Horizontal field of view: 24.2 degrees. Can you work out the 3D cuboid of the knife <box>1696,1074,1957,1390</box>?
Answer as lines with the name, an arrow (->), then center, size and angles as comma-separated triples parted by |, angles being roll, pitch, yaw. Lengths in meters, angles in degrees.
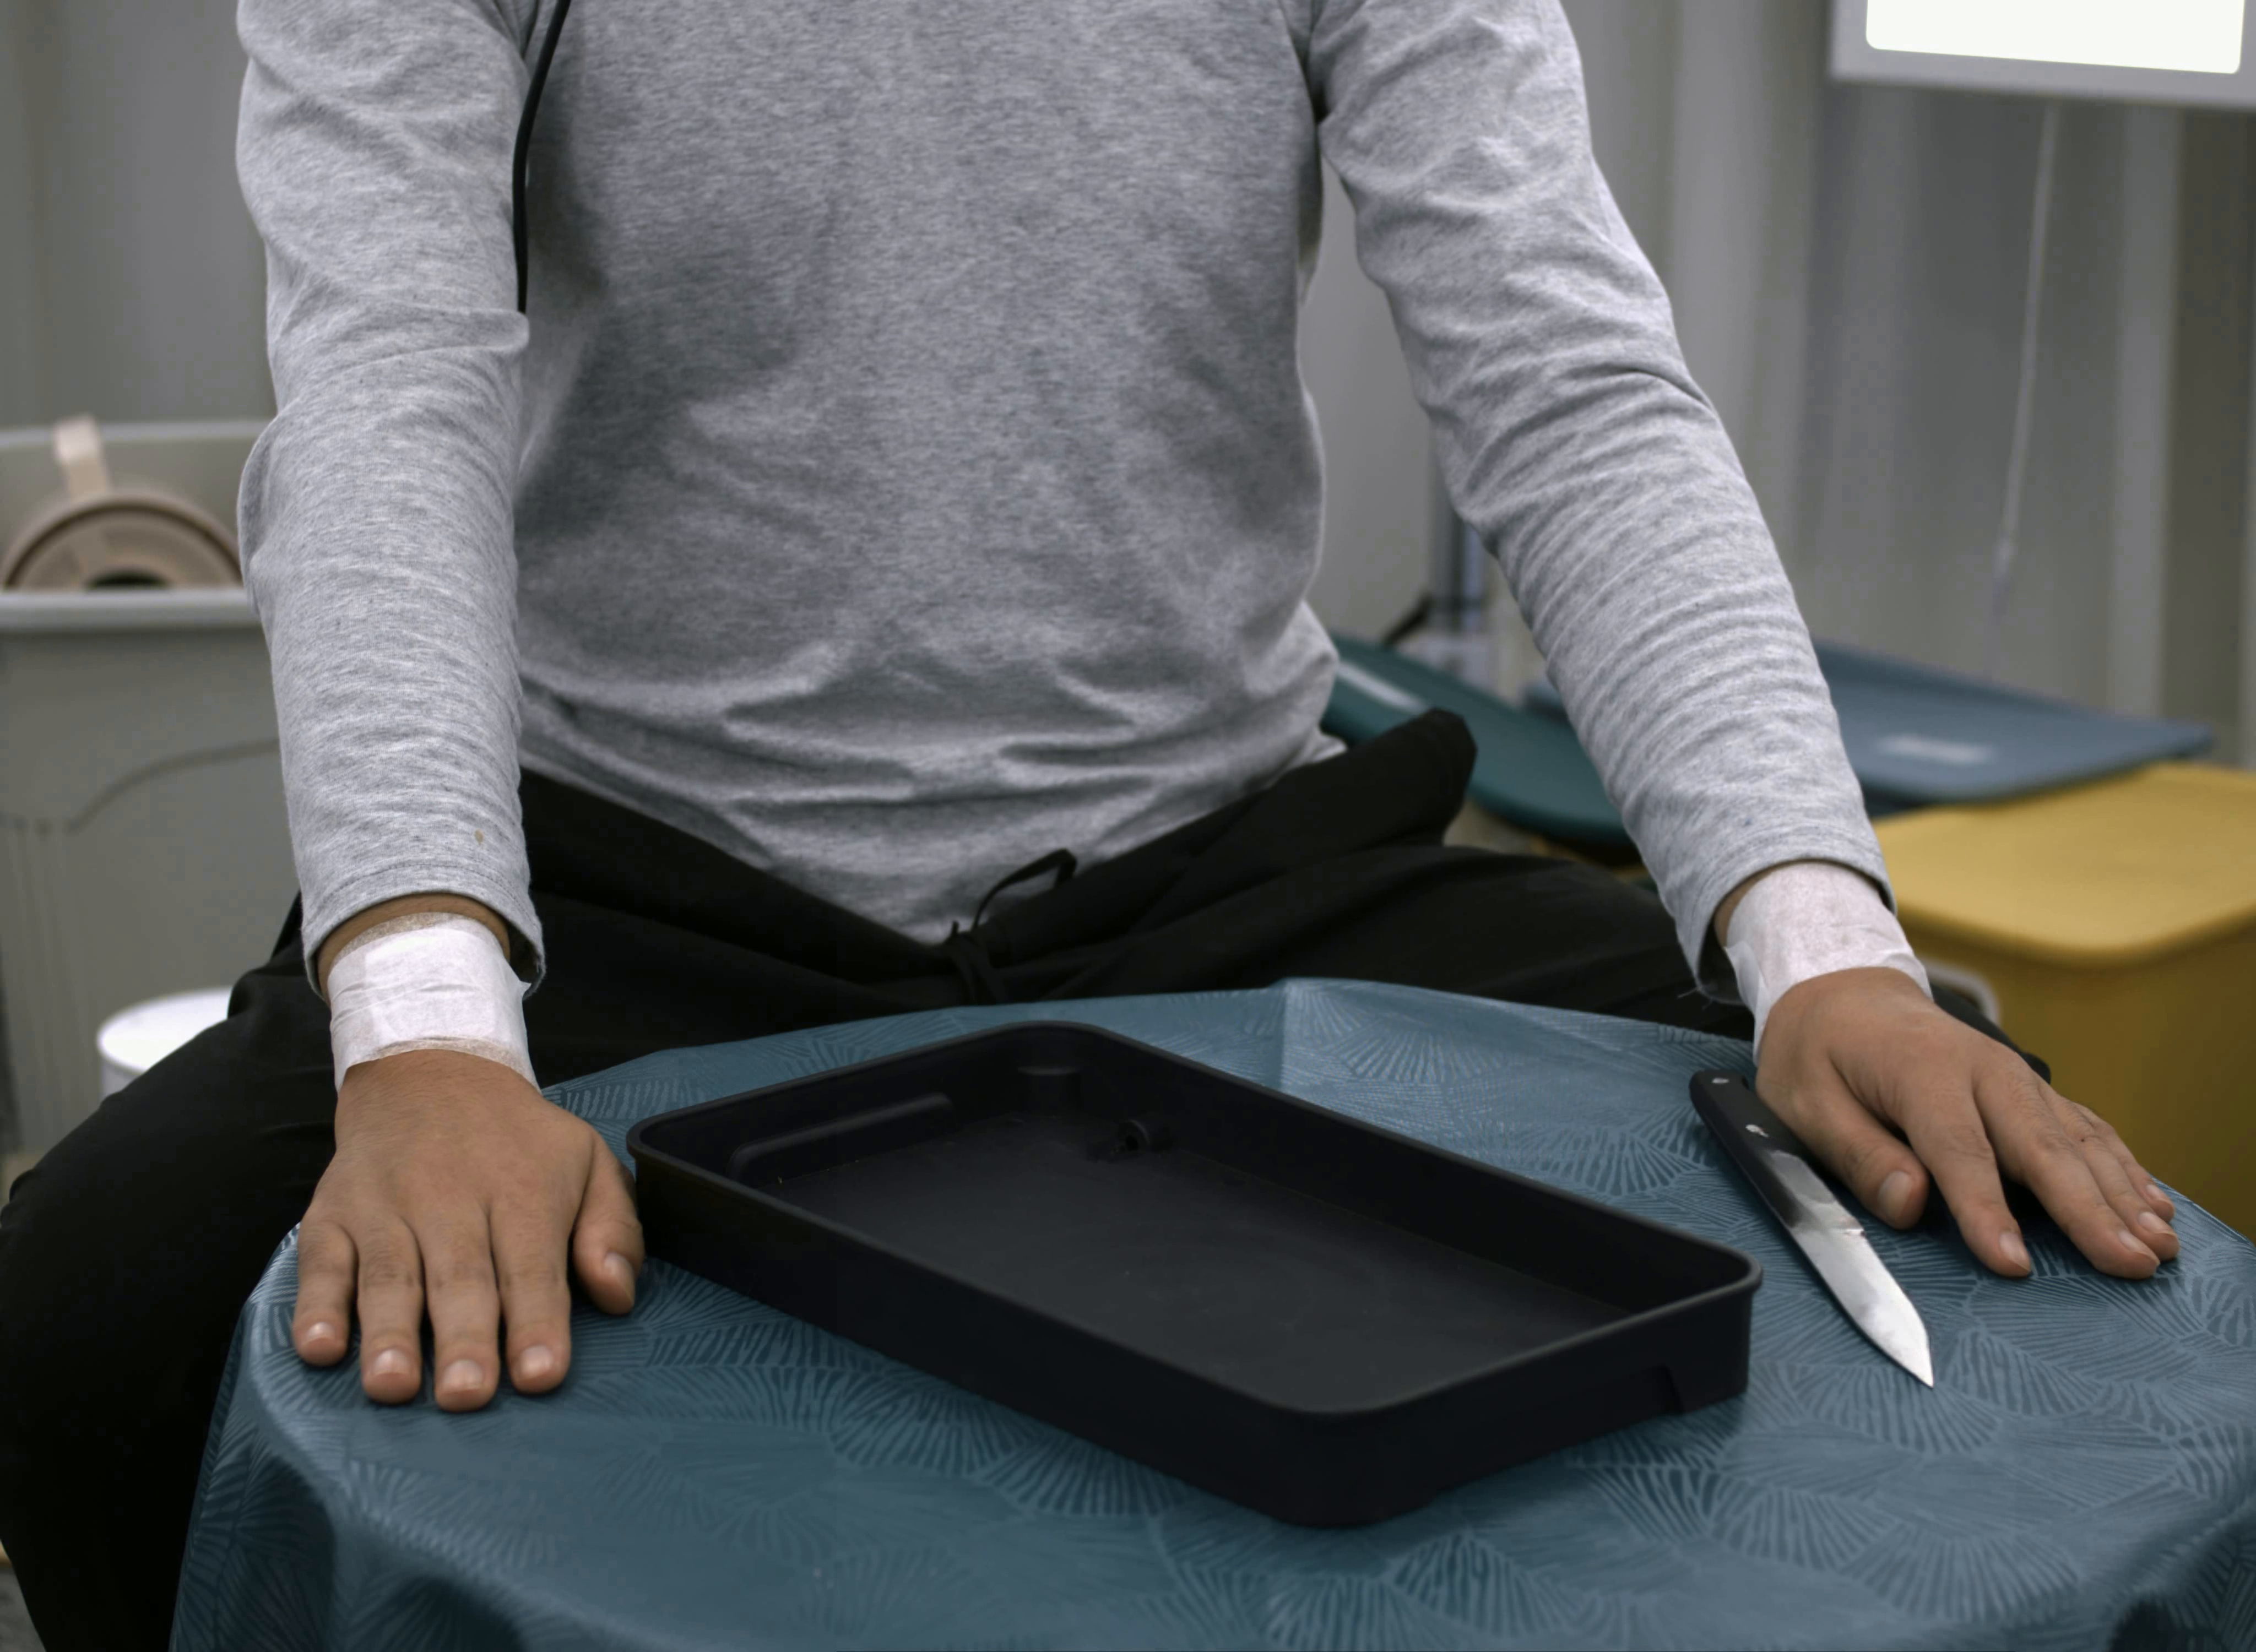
knife -> 0.207, 0.121, 1.581 | 0.024, 0.016, 0.236 | -4, 18, -9

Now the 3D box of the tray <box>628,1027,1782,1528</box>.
tray -> 0.017, 0.124, 1.517 | 0.185, 0.037, 0.313 | -13, 20, -42
